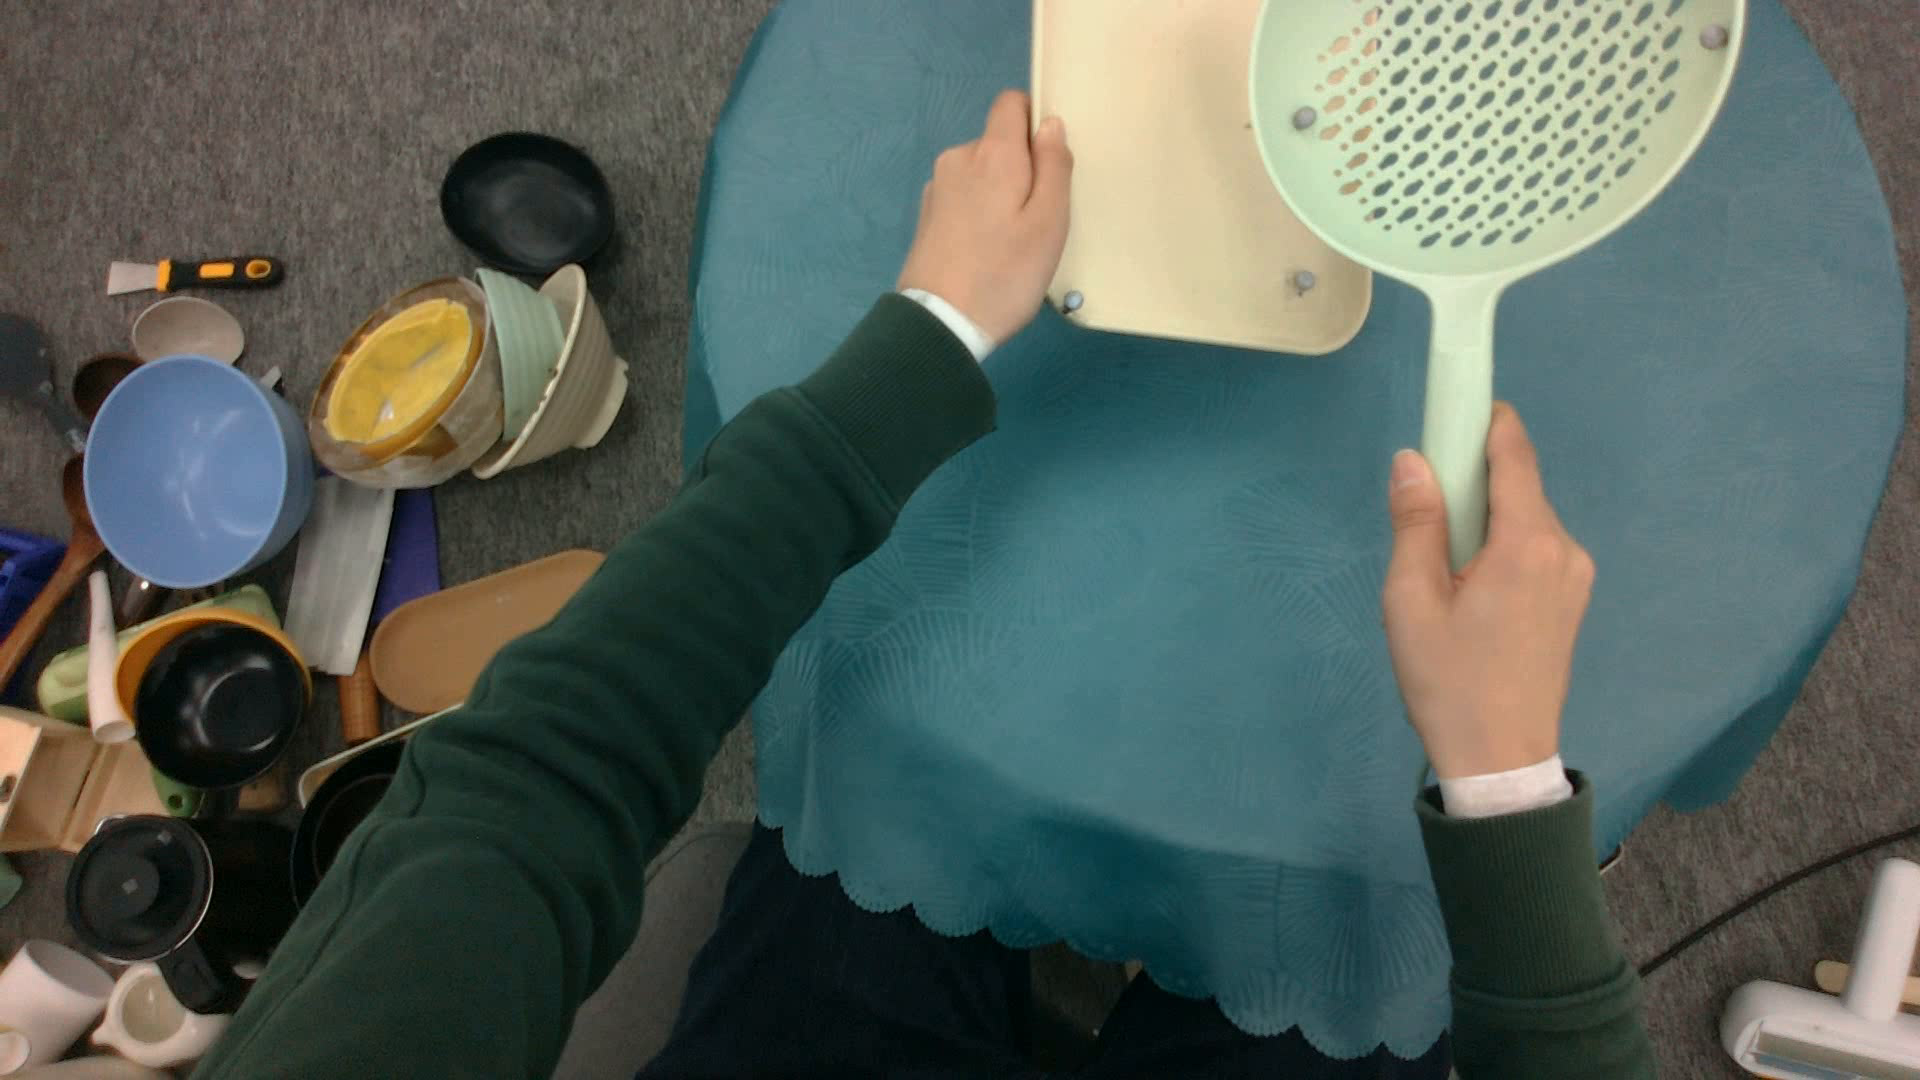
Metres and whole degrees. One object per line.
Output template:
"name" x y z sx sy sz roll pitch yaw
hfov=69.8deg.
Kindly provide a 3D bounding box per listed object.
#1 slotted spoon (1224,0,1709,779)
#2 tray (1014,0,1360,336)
"slotted spoon" 0.181 -0.088 0.516 0.169 0.075 0.359 3 86 31
"tray" 0.103 -0.213 0.612 0.171 0.017 0.239 3 88 -22
